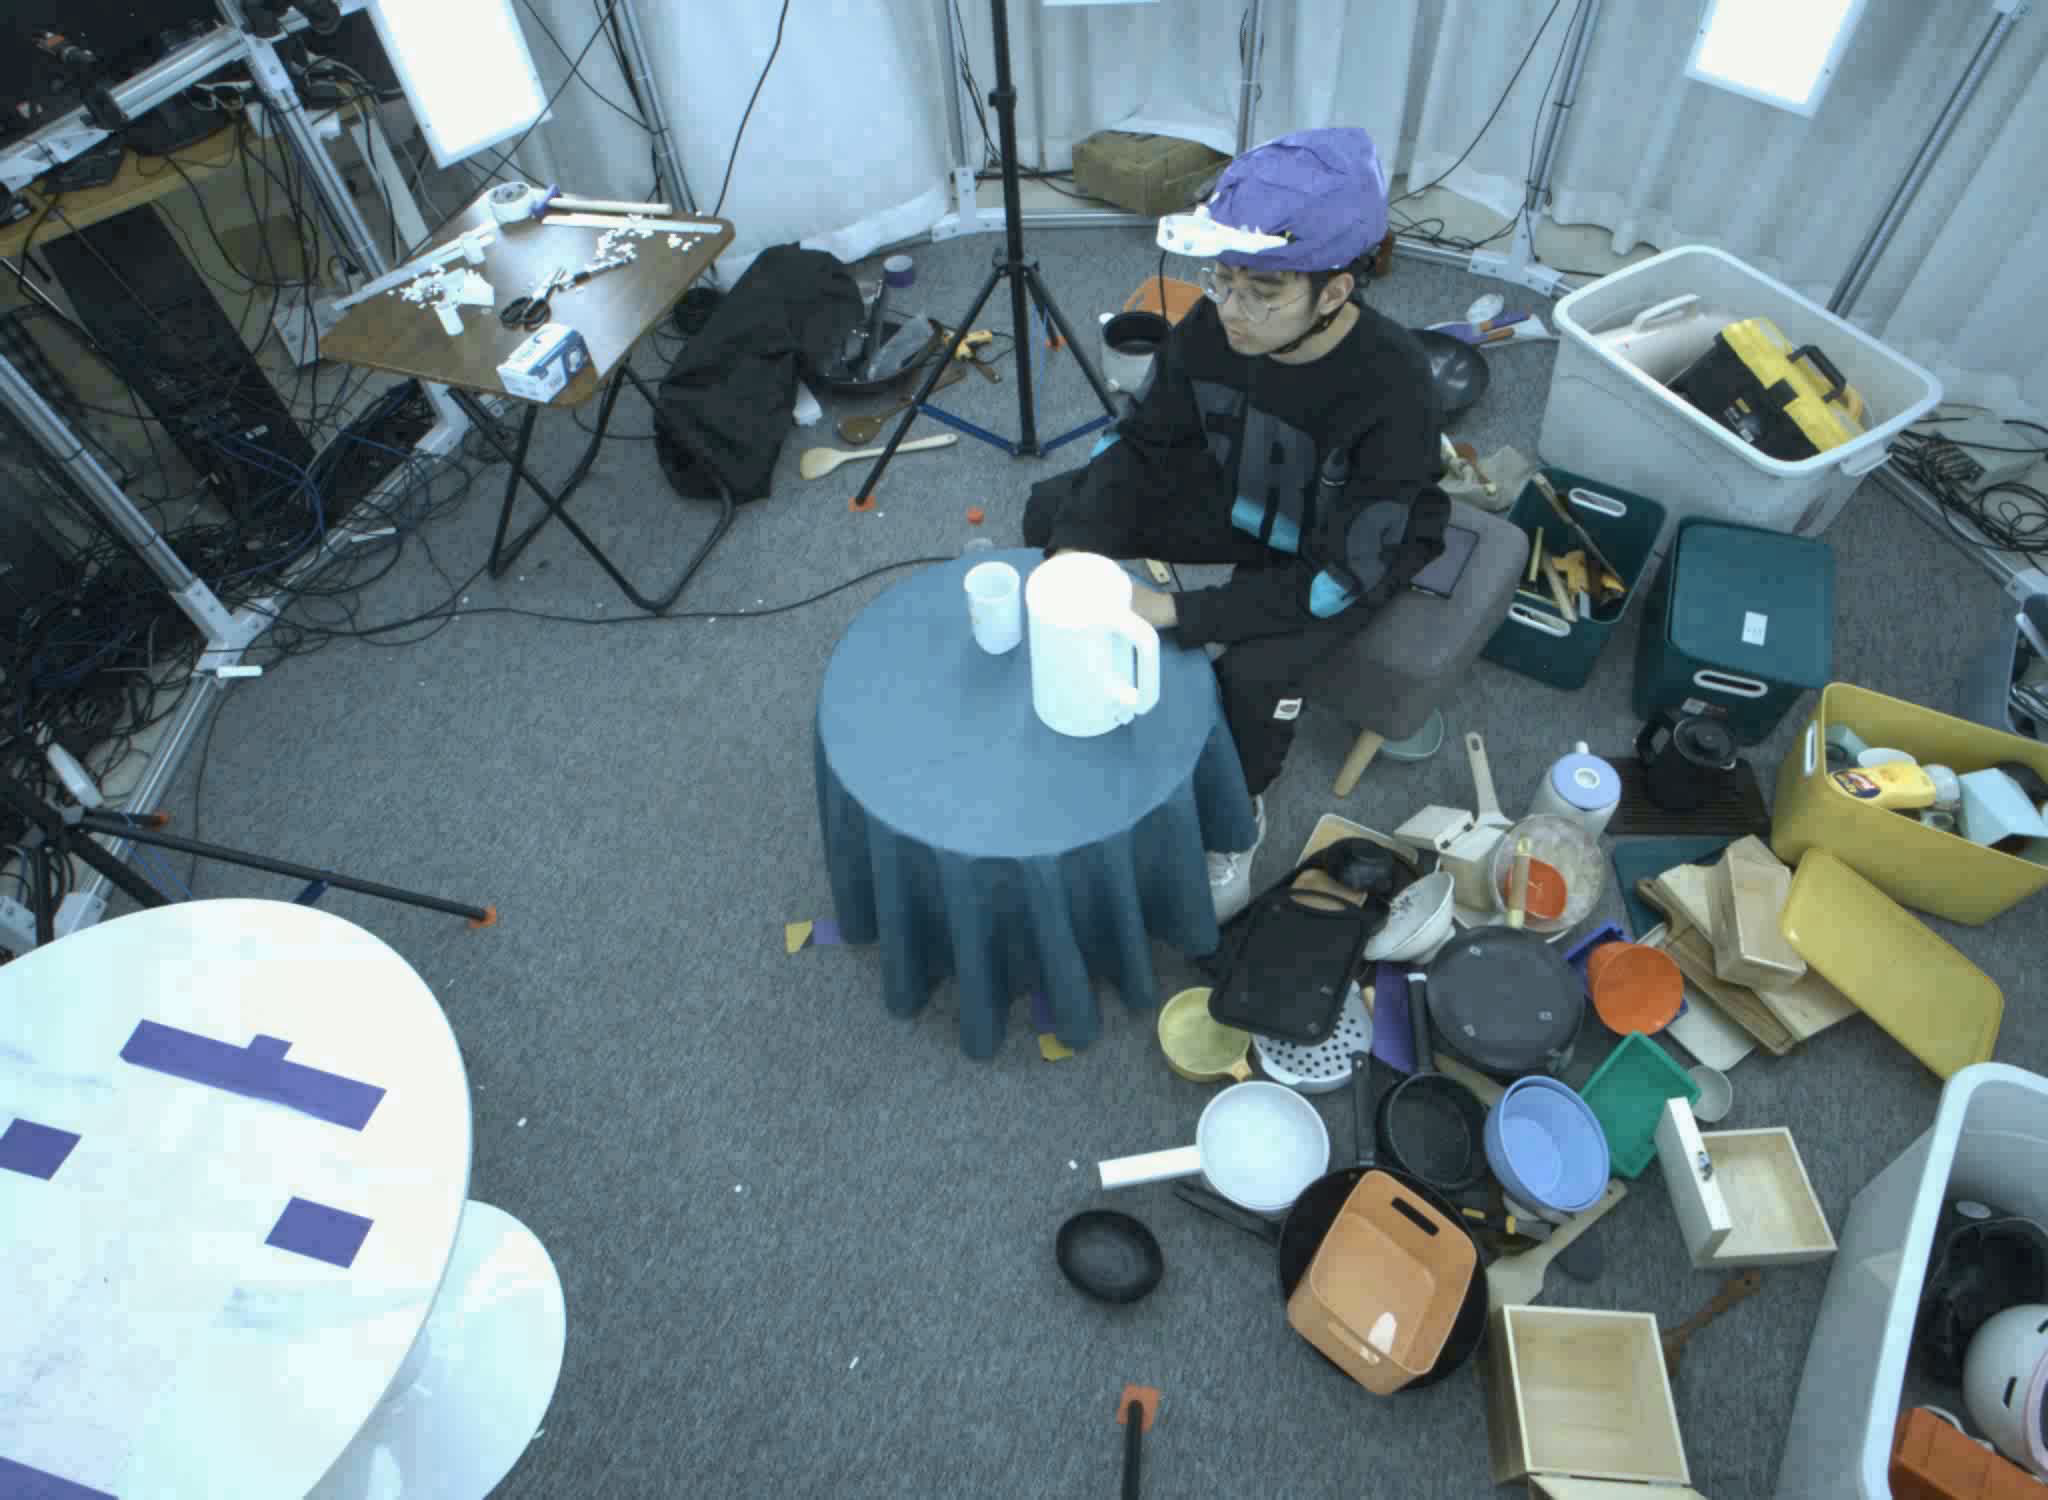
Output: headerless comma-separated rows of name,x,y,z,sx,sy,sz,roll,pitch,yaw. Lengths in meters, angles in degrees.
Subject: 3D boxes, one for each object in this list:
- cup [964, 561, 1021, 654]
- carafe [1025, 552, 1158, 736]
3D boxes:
cup,-0.045,-0.213,1.859,0.081,0.127,0.081,-1,54,3
carafe,0.098,-0.133,1.731,0.209,0.243,0.153,36,65,26
